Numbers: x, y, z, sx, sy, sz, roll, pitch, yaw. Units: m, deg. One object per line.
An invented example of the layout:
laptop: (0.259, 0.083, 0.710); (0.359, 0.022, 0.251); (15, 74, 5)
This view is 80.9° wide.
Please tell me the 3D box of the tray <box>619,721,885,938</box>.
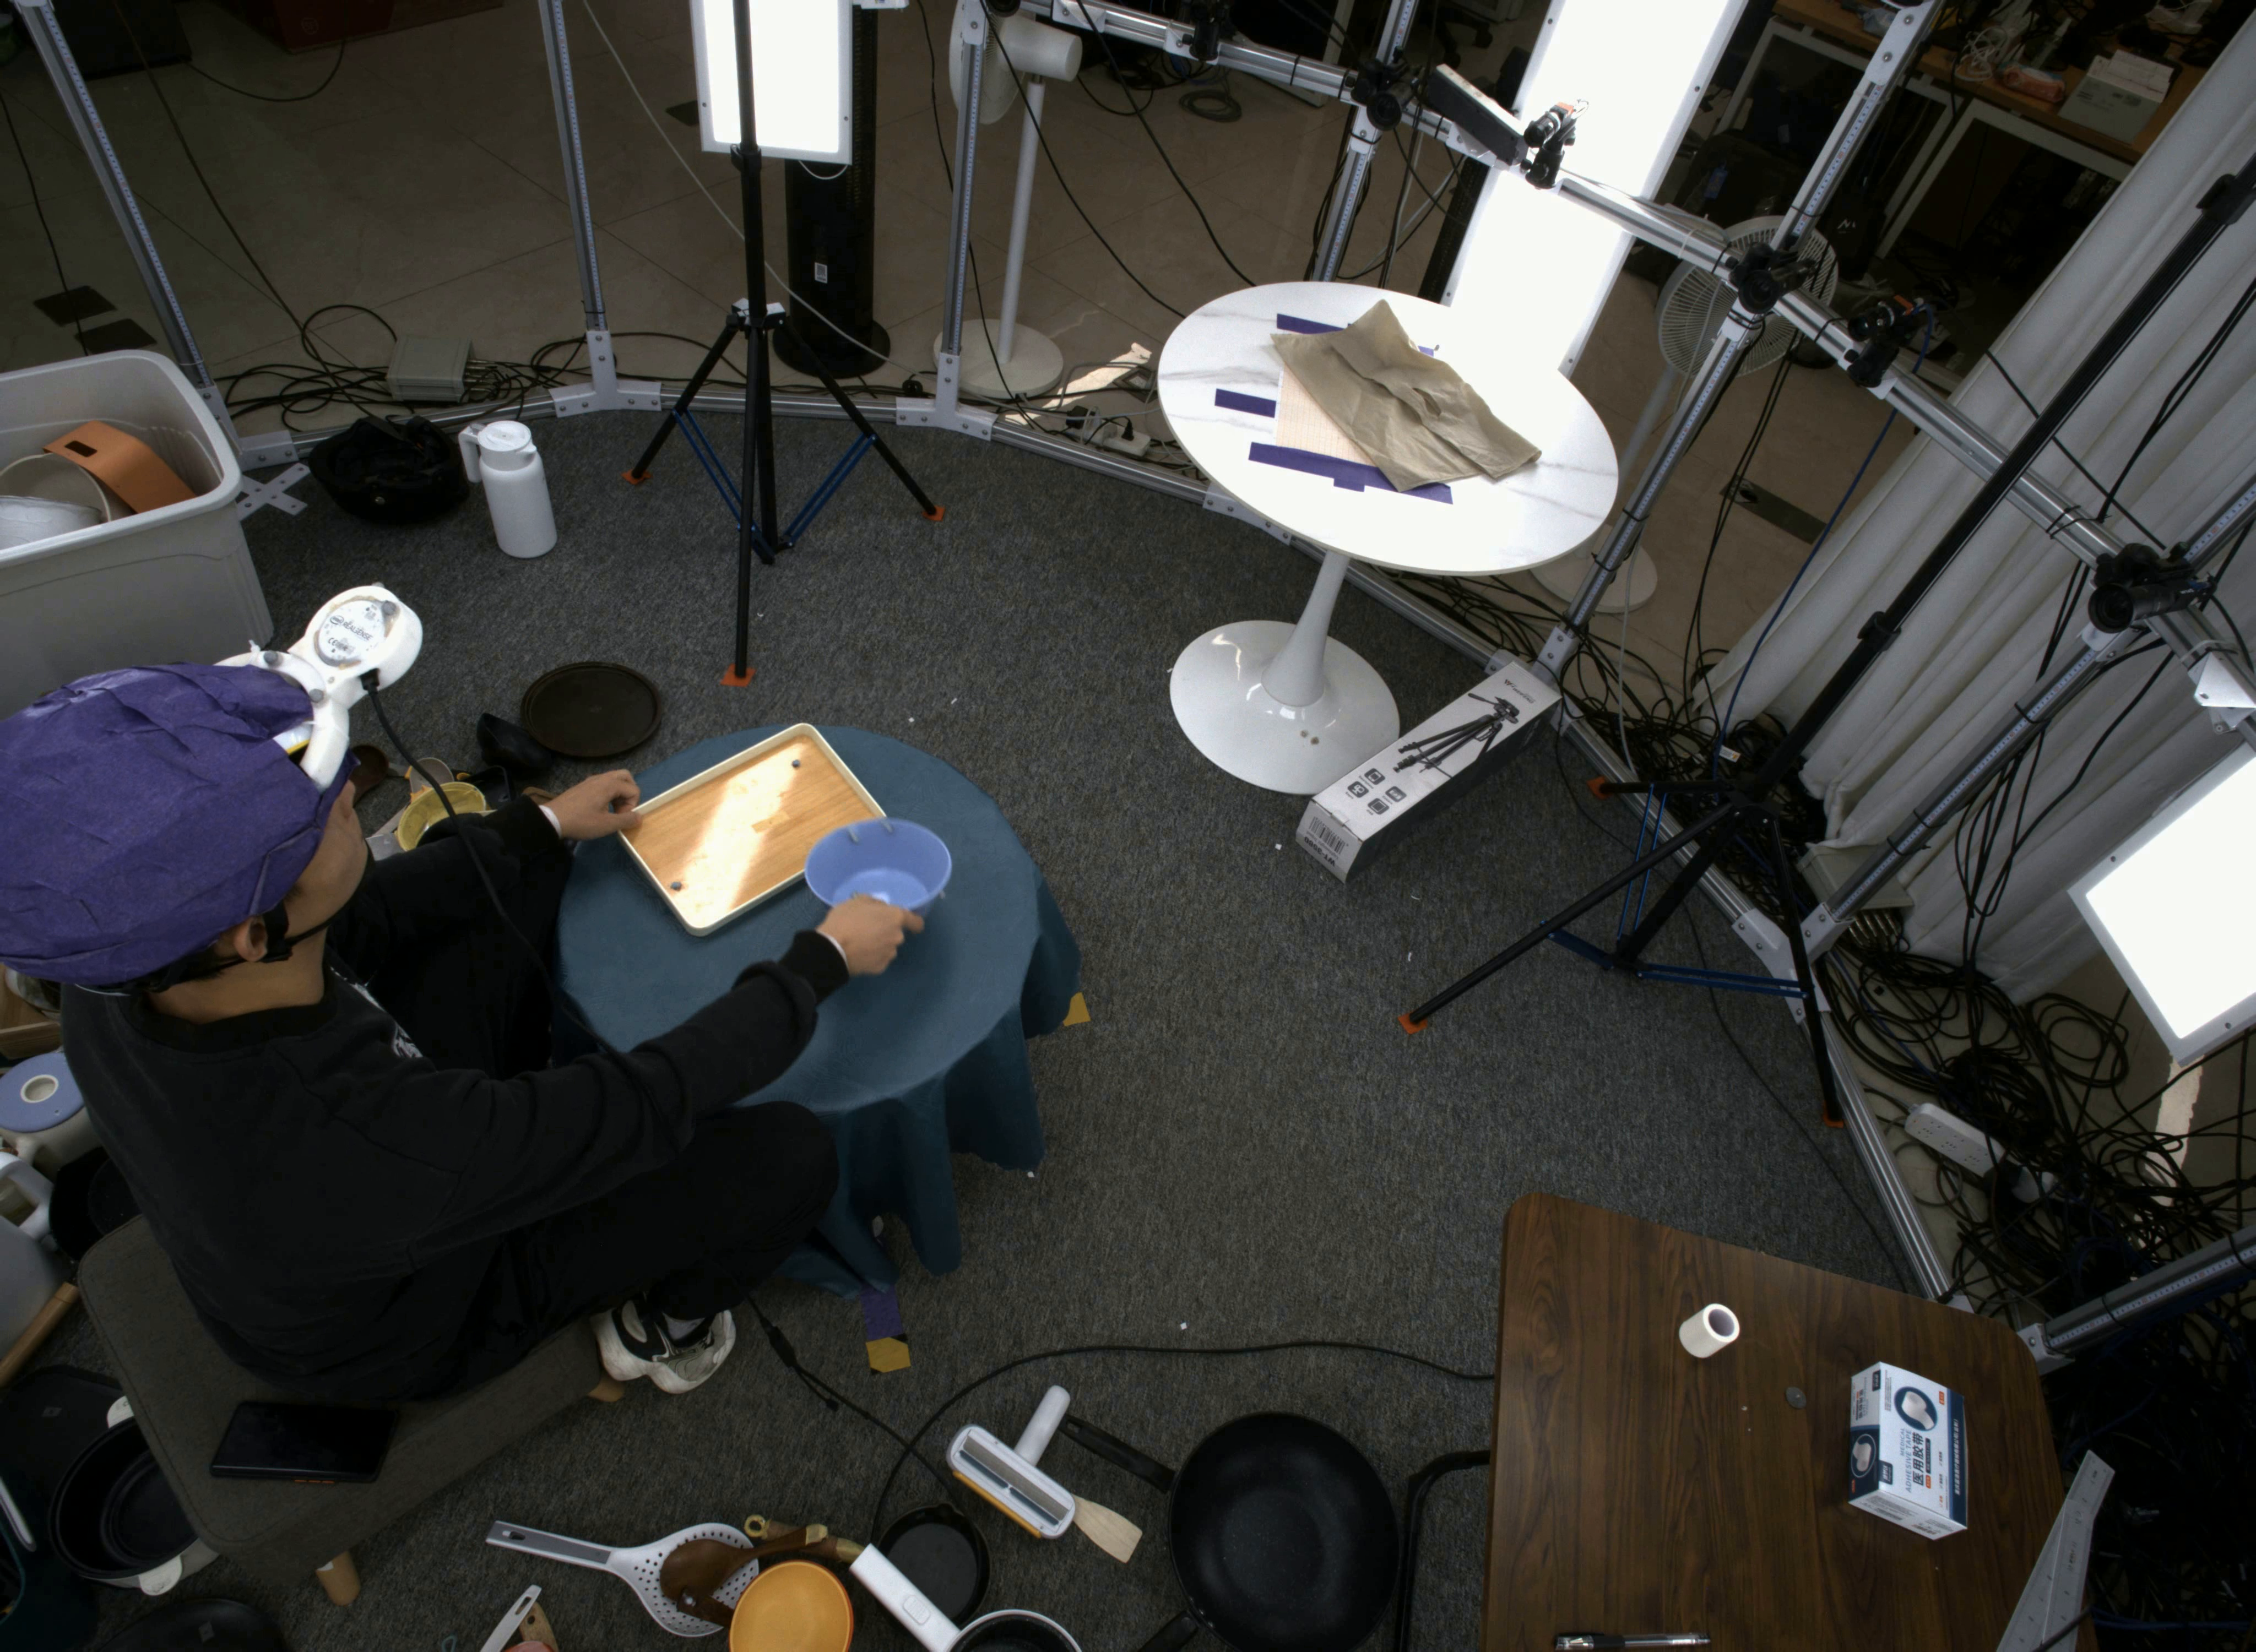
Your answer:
tray: (-0.486, -0.003, 1.678); (0.301, 0.027, 0.189); (-34, 79, -33)

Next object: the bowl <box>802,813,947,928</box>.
bowl: (-0.309, 0.062, 1.599); (0.174, 0.072, 0.172); (4, 39, -2)
